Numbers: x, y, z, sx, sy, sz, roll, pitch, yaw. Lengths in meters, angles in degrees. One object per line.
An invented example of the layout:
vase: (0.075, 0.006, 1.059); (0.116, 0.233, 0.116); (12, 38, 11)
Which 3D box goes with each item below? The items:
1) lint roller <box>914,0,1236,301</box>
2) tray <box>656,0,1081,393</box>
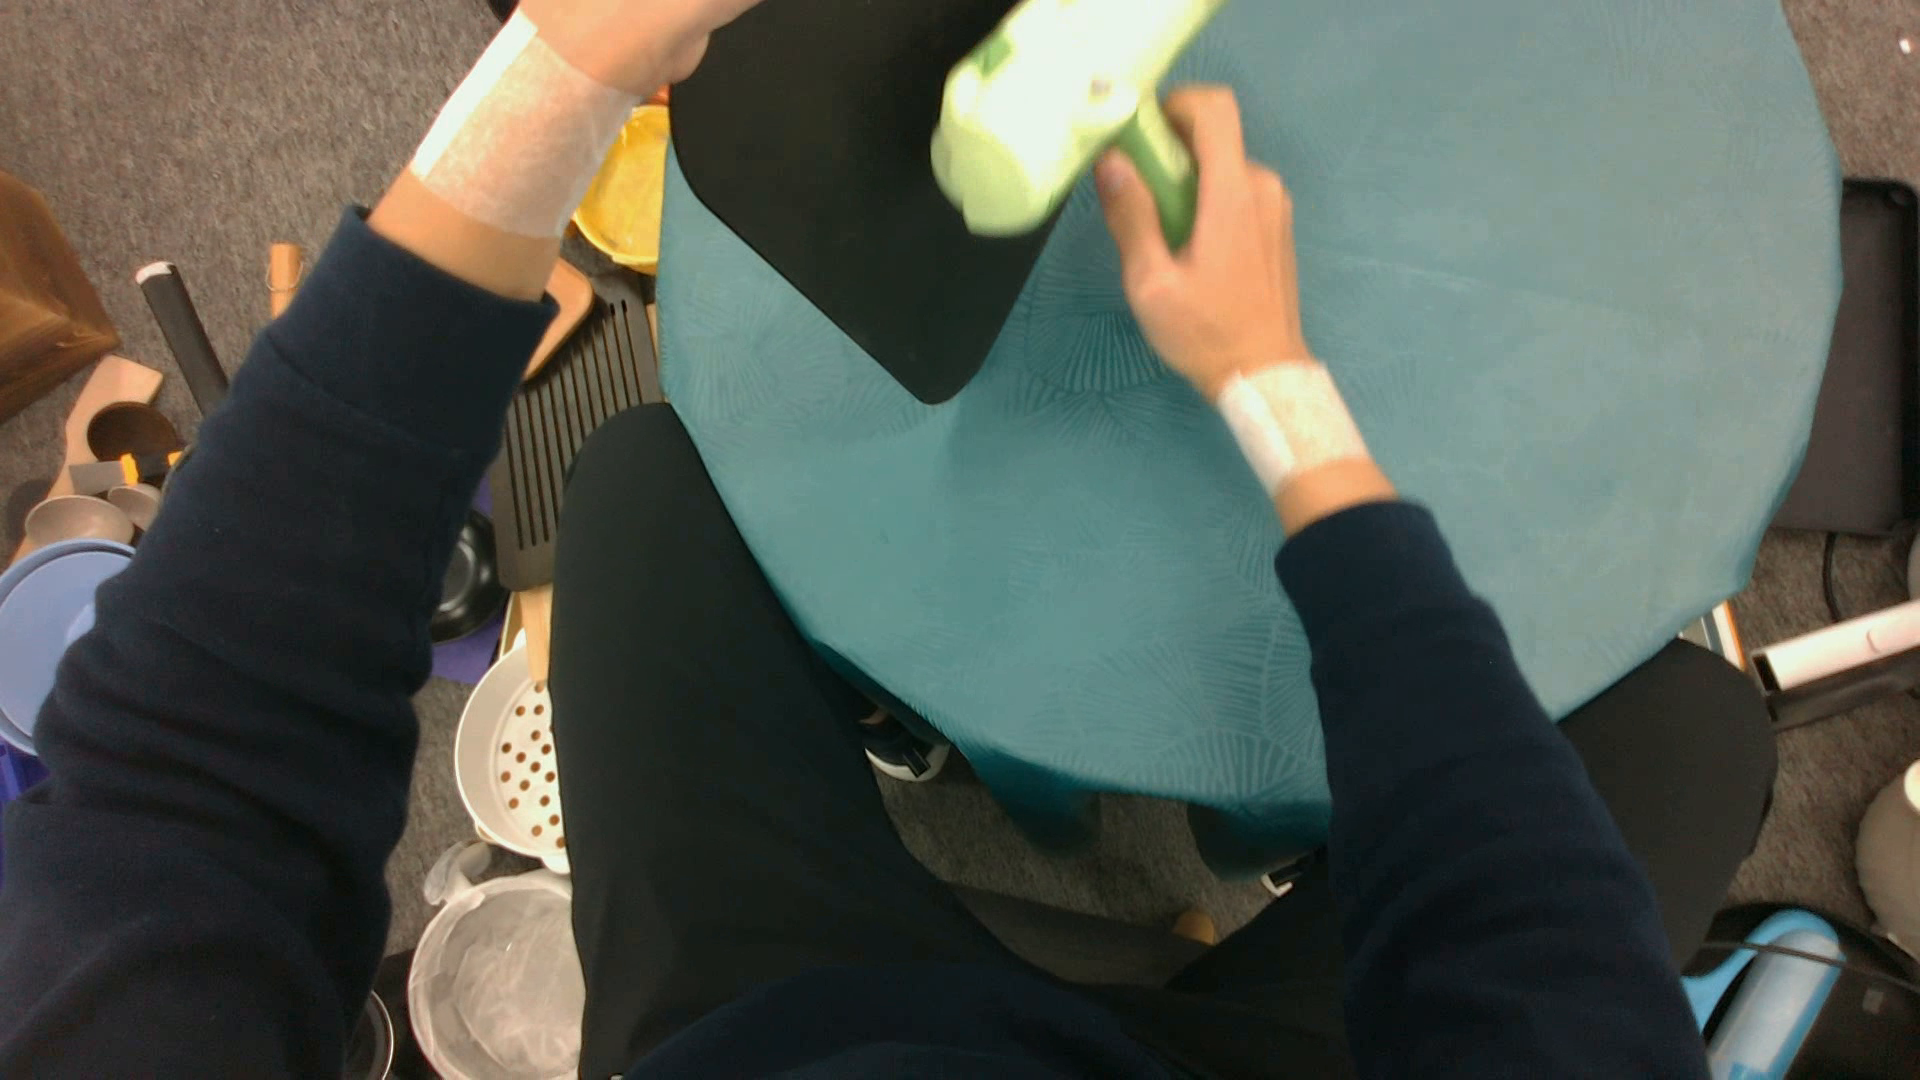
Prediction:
lint roller: (0.084, -0.178, 0.577); (0.183, 0.082, 0.199); (47, 56, -24)
tray: (-0.018, -0.190, 0.561); (0.010, 0.325, 0.211); (25, 87, 20)
